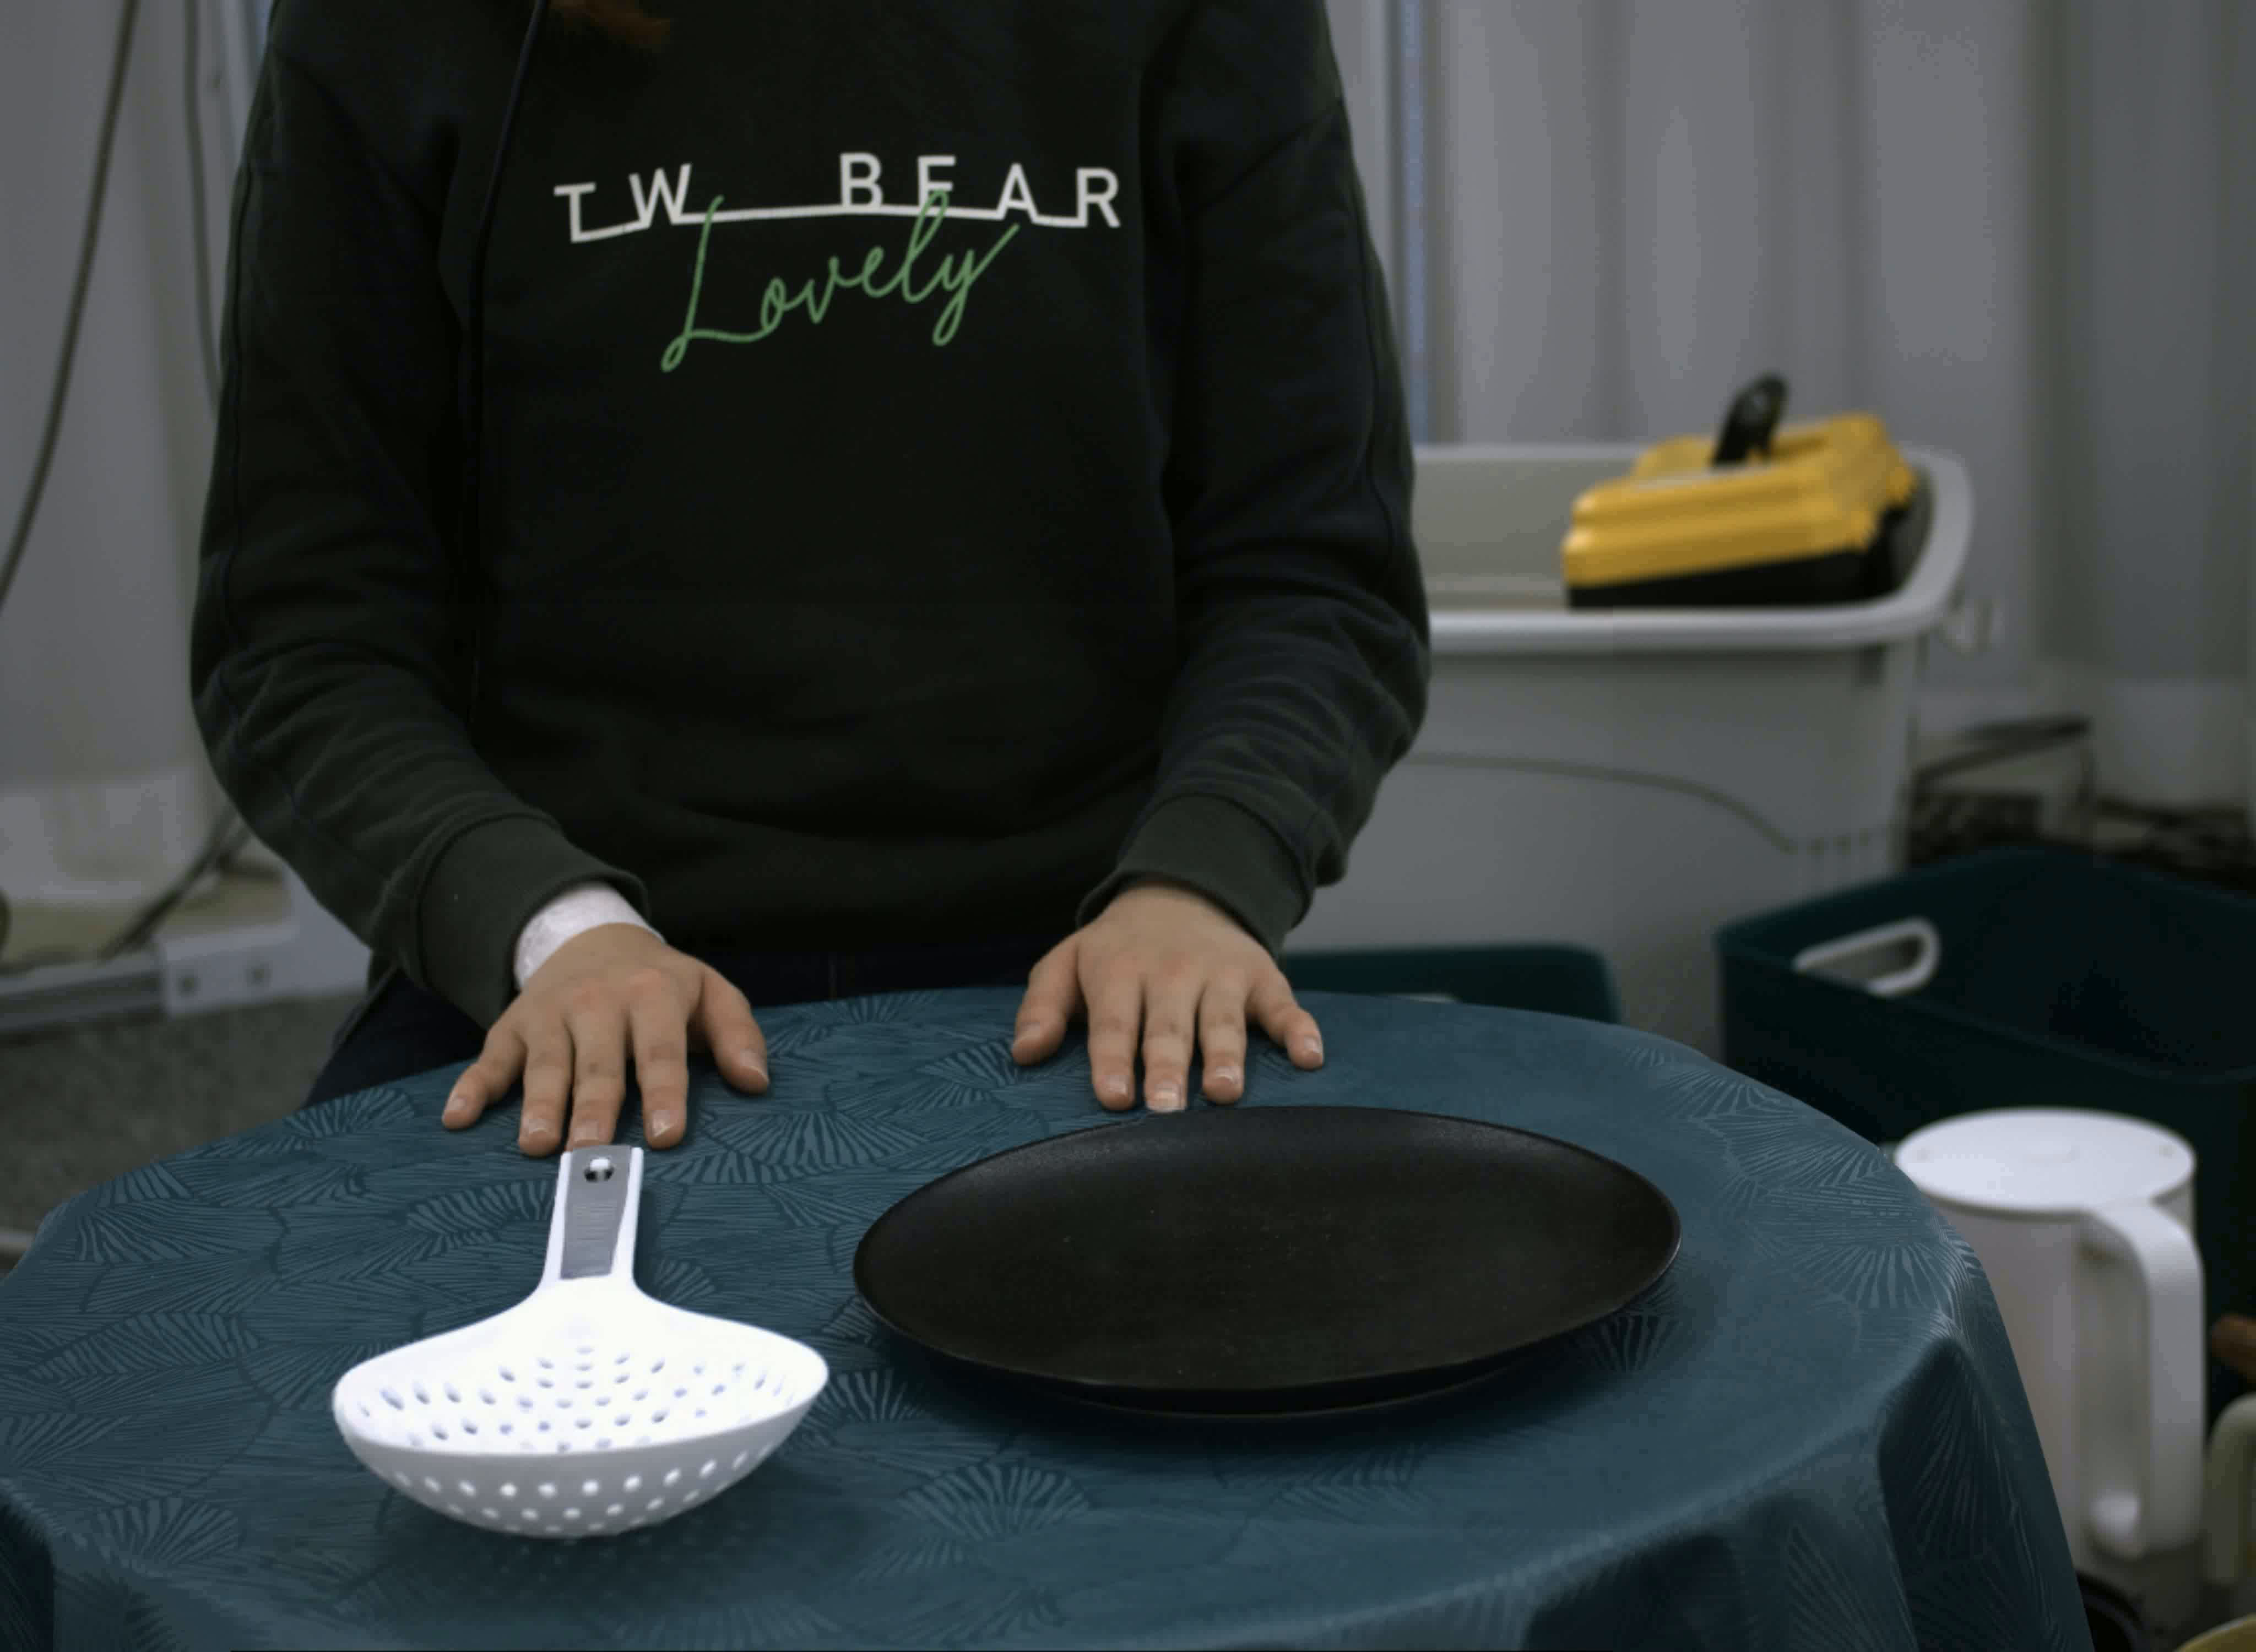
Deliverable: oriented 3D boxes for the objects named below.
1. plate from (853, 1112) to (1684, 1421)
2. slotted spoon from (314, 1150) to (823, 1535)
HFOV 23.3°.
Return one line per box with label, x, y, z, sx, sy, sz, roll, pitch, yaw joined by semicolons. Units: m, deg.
plate;0.041;0.131;1.602;0.243;0.023;0.246;-3;15;0
slotted spoon;-0.155;0.138;1.567;0.135;0.045;0.352;-2;14;-3
